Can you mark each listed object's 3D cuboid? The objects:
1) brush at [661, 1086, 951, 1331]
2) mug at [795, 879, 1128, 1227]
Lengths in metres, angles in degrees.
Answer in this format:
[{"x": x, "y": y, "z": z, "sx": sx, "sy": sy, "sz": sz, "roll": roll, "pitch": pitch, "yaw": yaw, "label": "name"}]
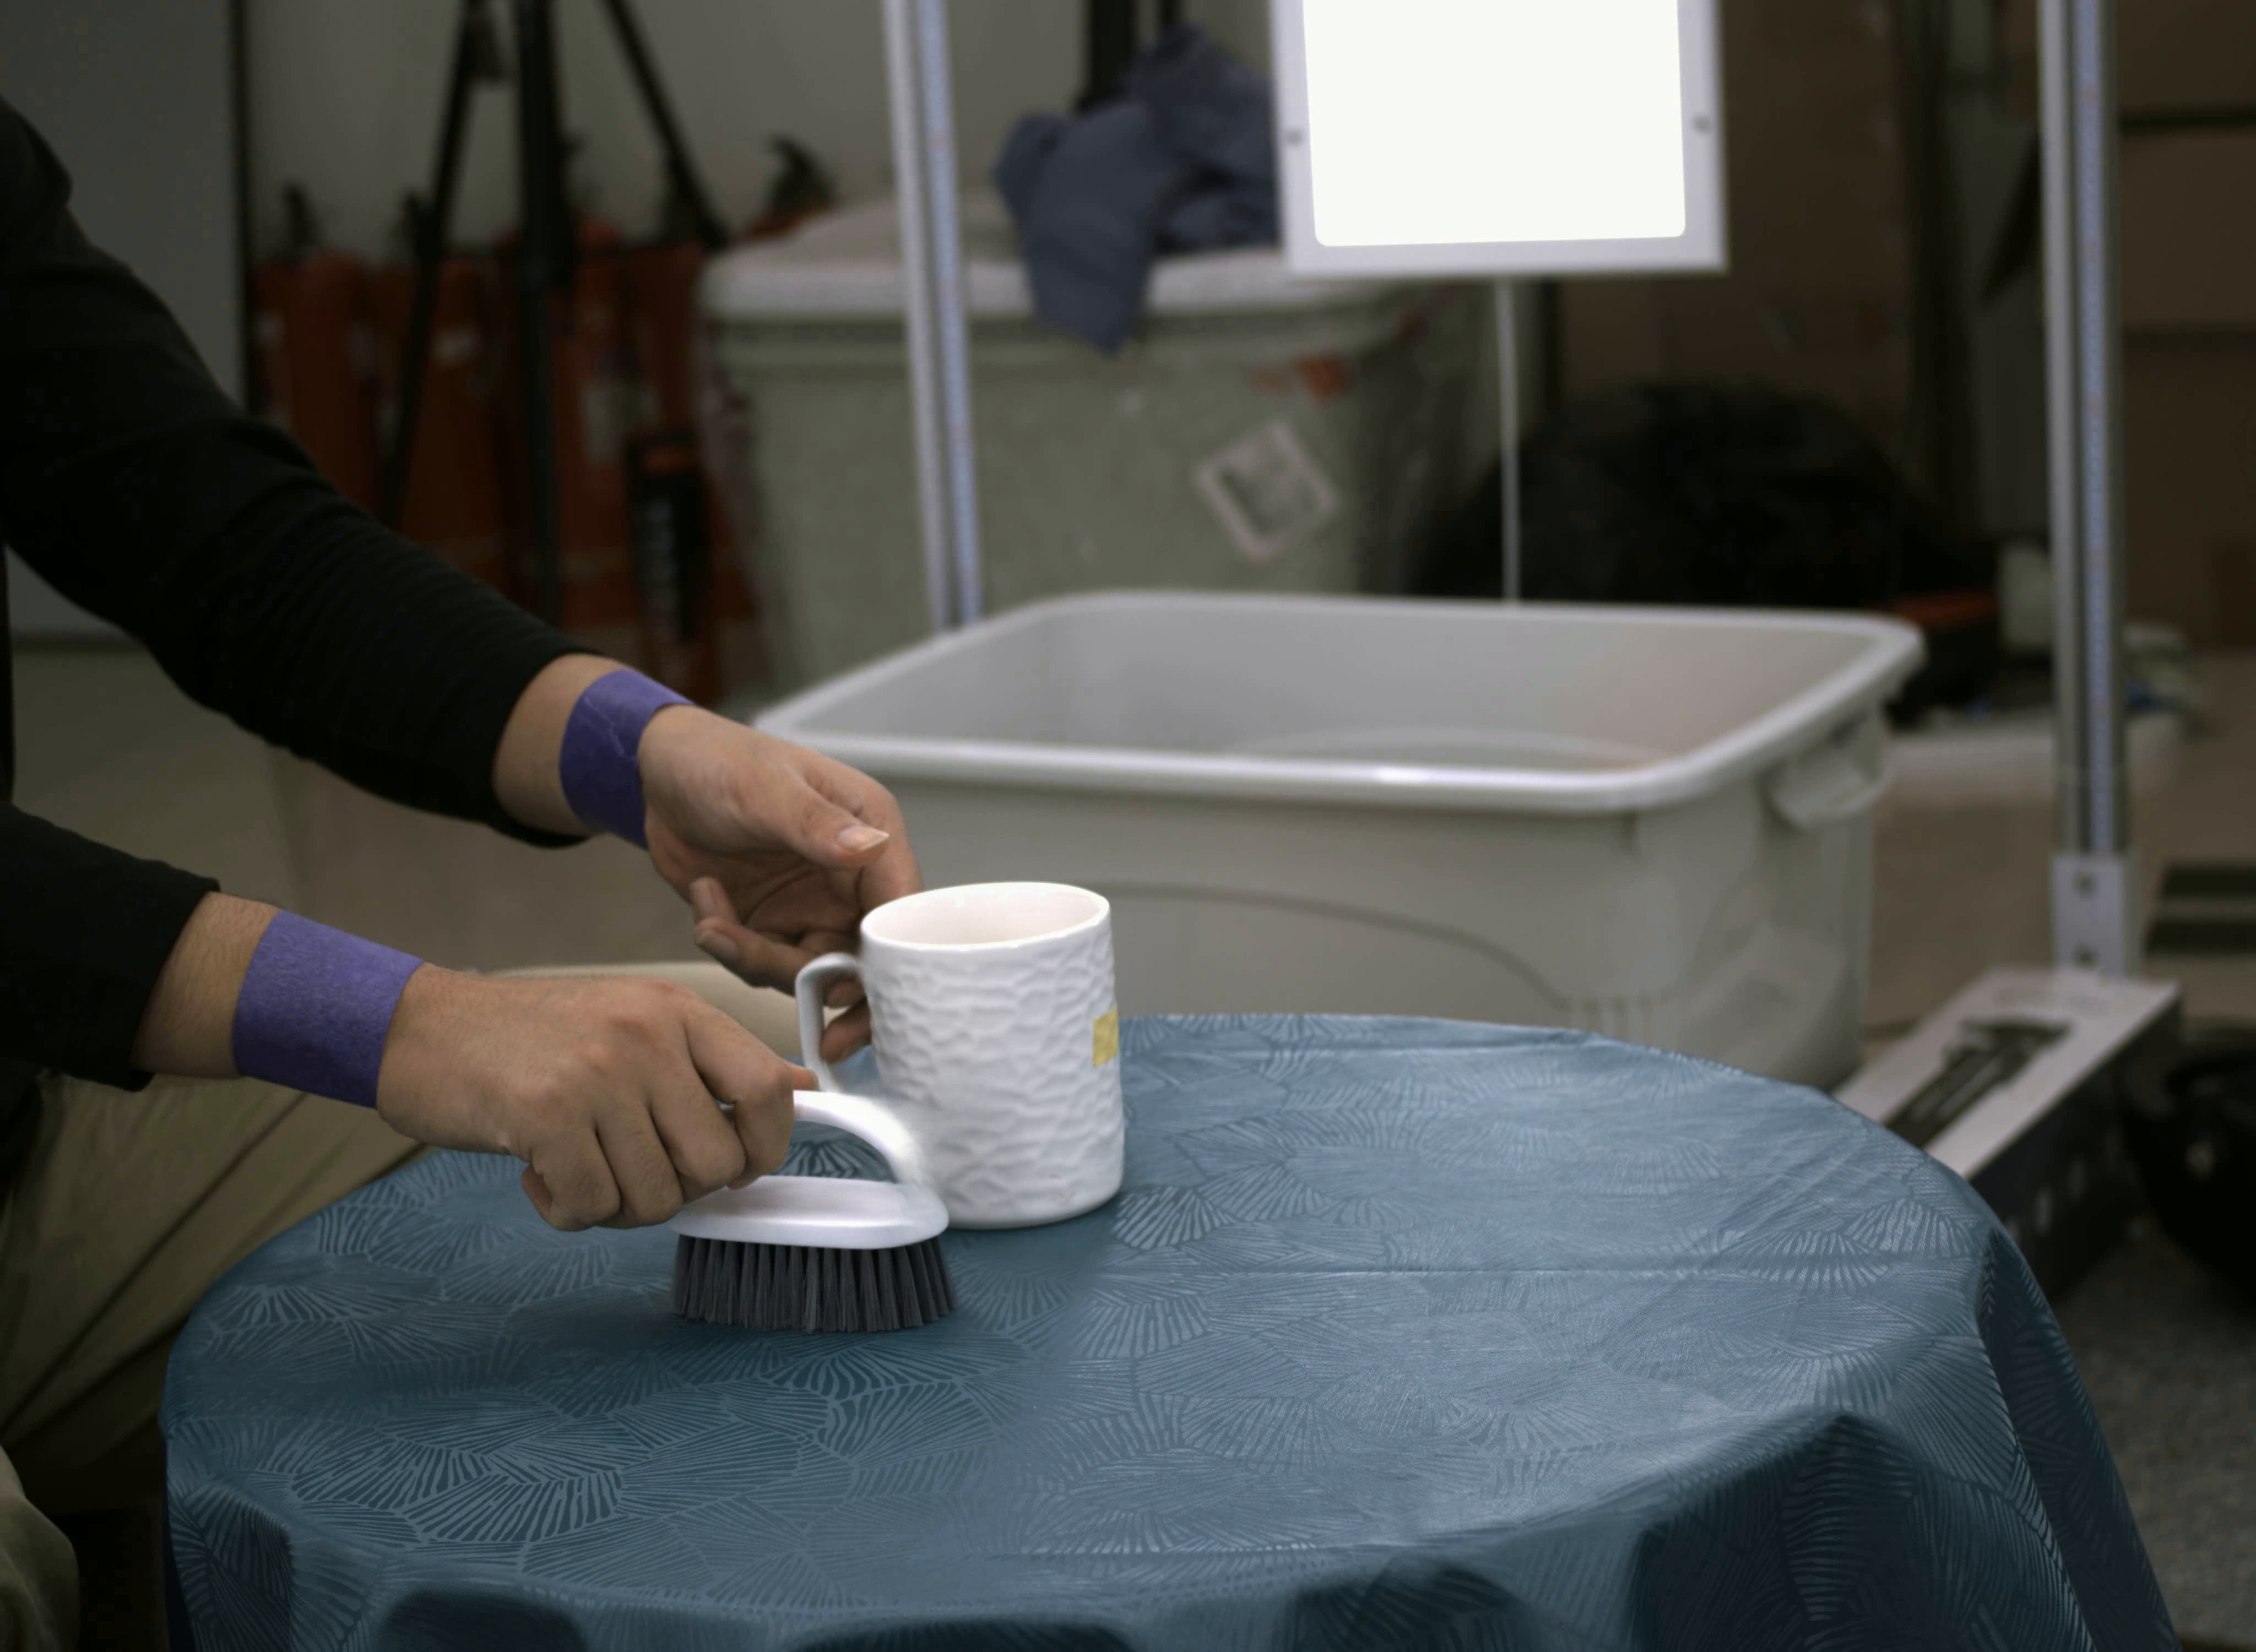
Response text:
[{"x": -0.107, "y": 0.121, "z": 1.800, "sx": 0.101, "sy": 0.073, "sz": 0.049, "roll": 4, "pitch": 14, "yaw": 28, "label": "brush"}, {"x": -0.059, "y": 0.078, "z": 1.901, "sx": 0.120, "sy": 0.102, "sz": 0.083, "roll": 1, "pitch": 15, "yaw": 27, "label": "mug"}]
